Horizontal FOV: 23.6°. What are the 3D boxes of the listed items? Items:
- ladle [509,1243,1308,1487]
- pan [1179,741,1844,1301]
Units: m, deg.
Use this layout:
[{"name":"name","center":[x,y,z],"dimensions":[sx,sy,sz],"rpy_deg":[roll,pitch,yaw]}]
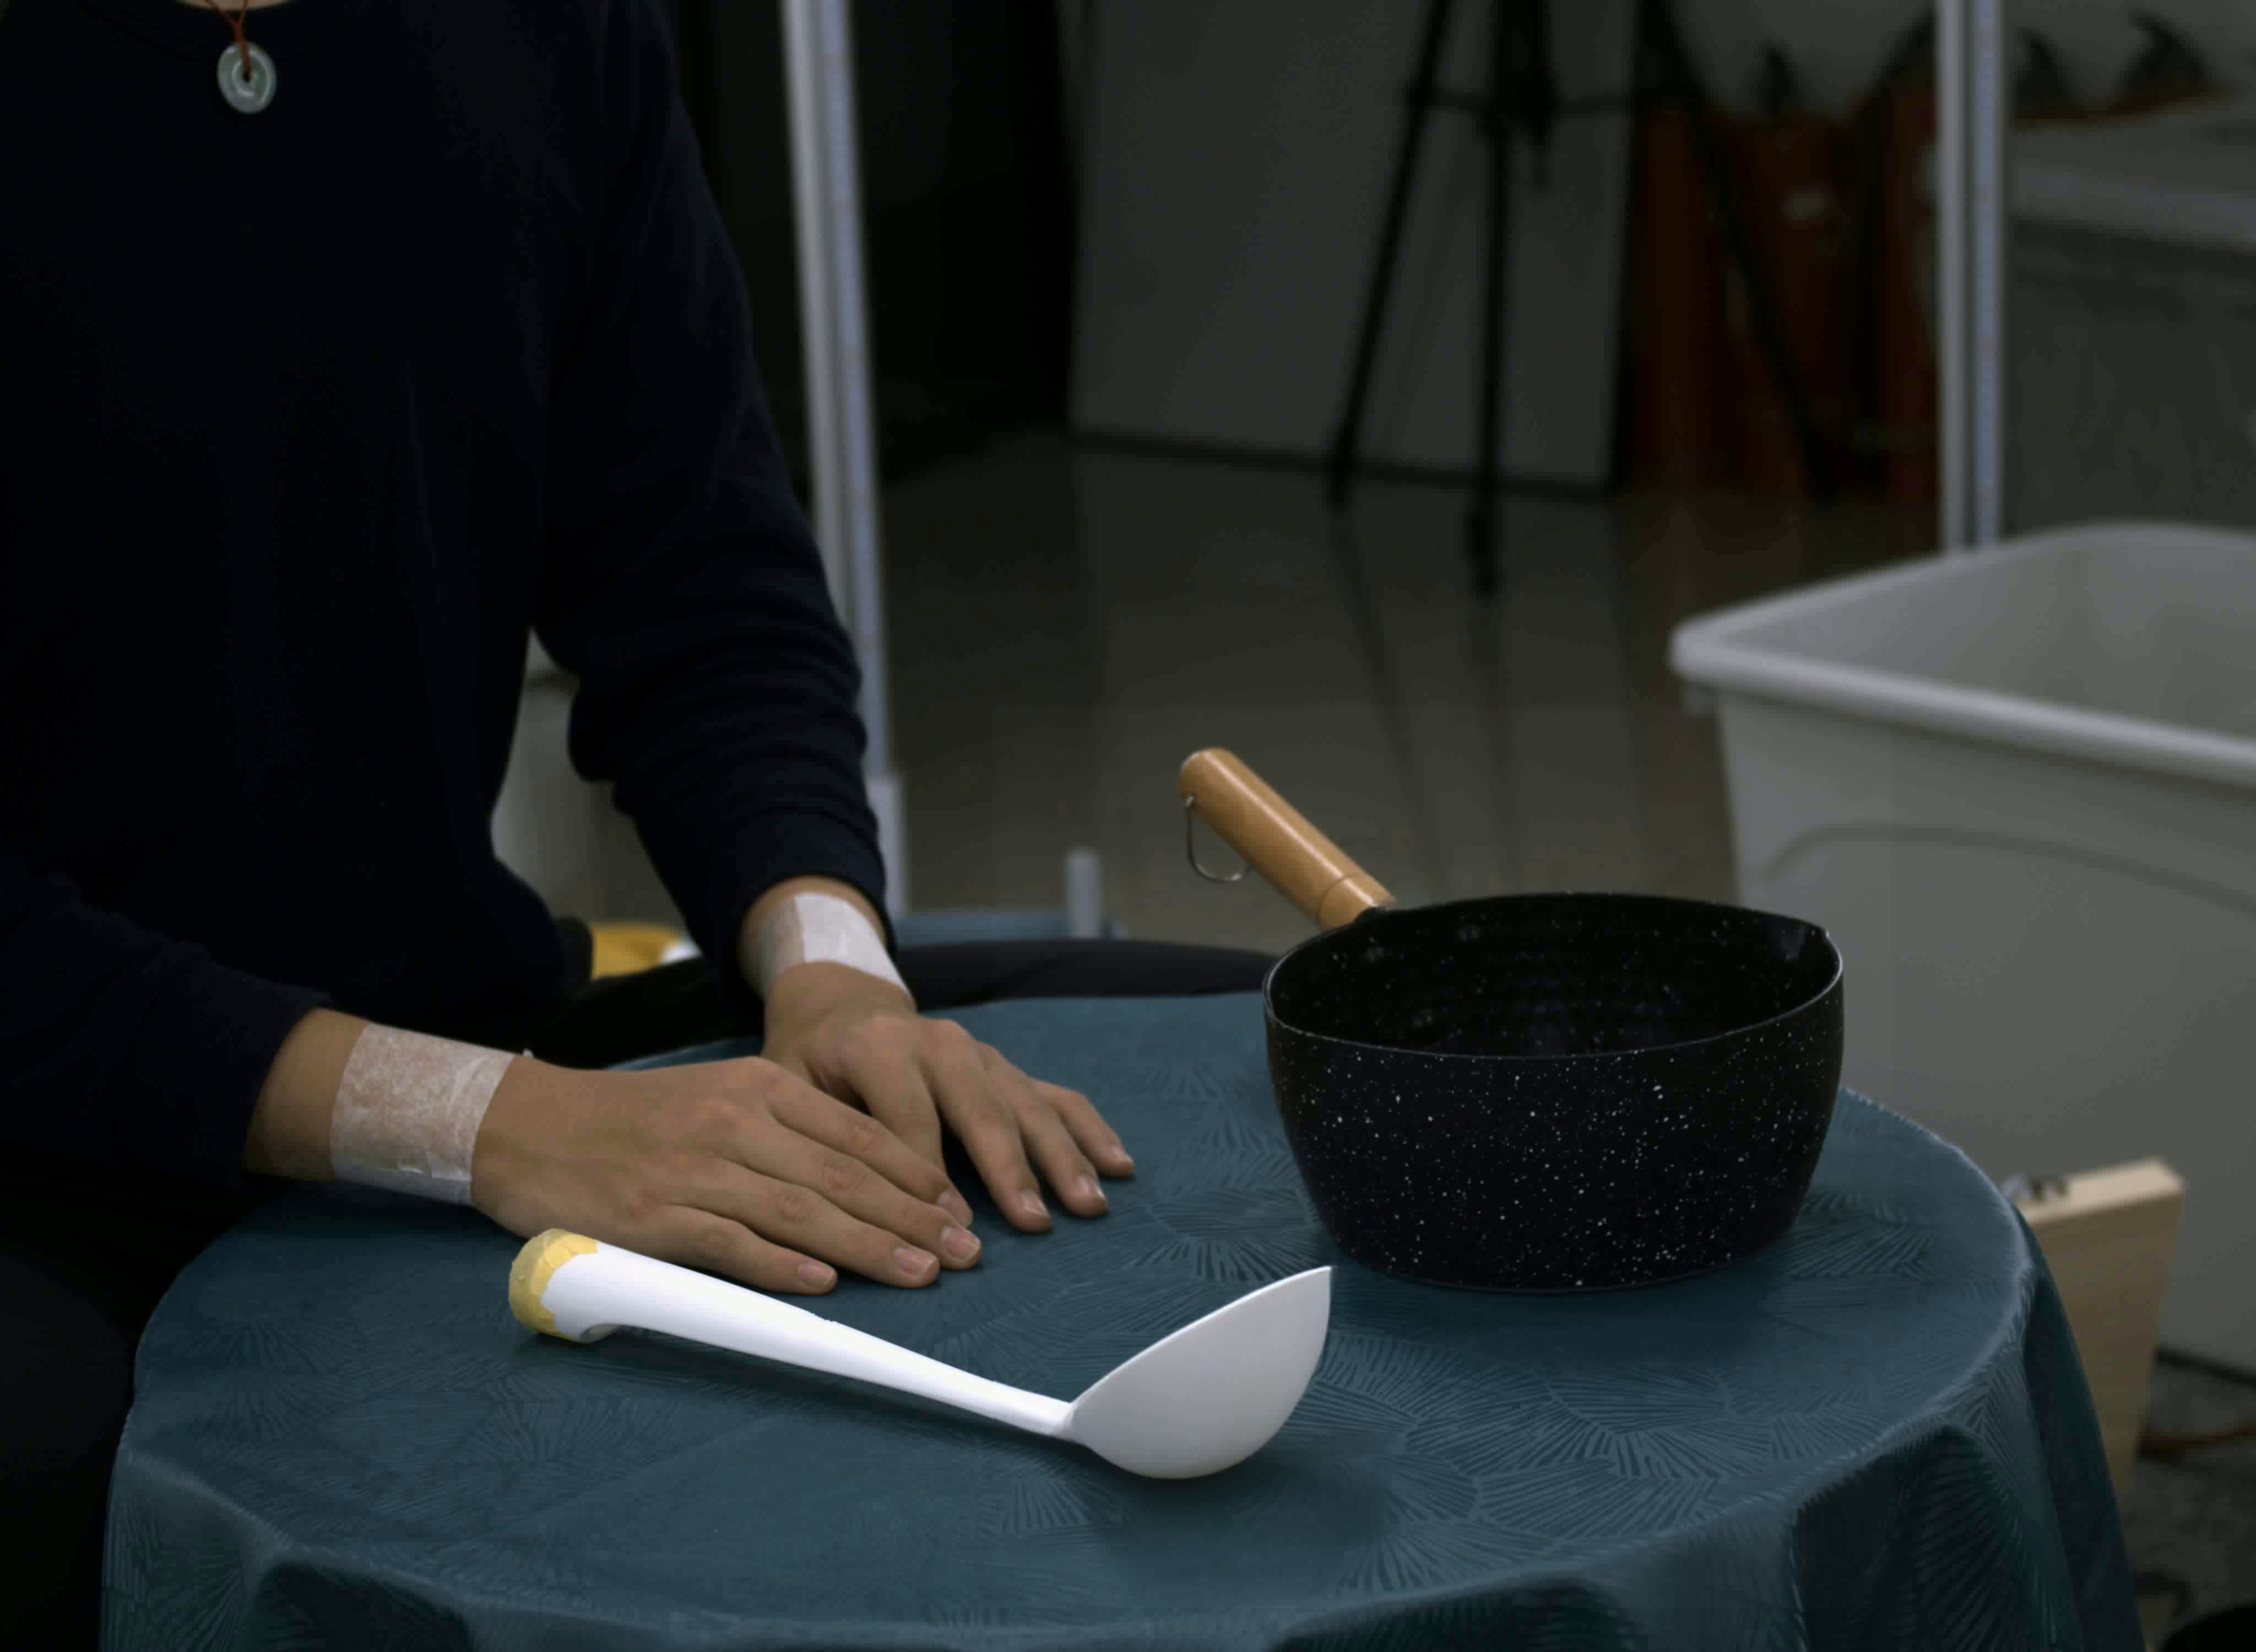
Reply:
[{"name":"ladle","center":[-0.072,0.142,1.571],"dimensions":[0.295,0.070,0.088],"rpy_deg":[7,21,40]},{"name":"pan","center":[0.100,0.058,1.770],"dimensions":[0.203,0.109,0.346],"rpy_deg":[-11,17,-24]}]
